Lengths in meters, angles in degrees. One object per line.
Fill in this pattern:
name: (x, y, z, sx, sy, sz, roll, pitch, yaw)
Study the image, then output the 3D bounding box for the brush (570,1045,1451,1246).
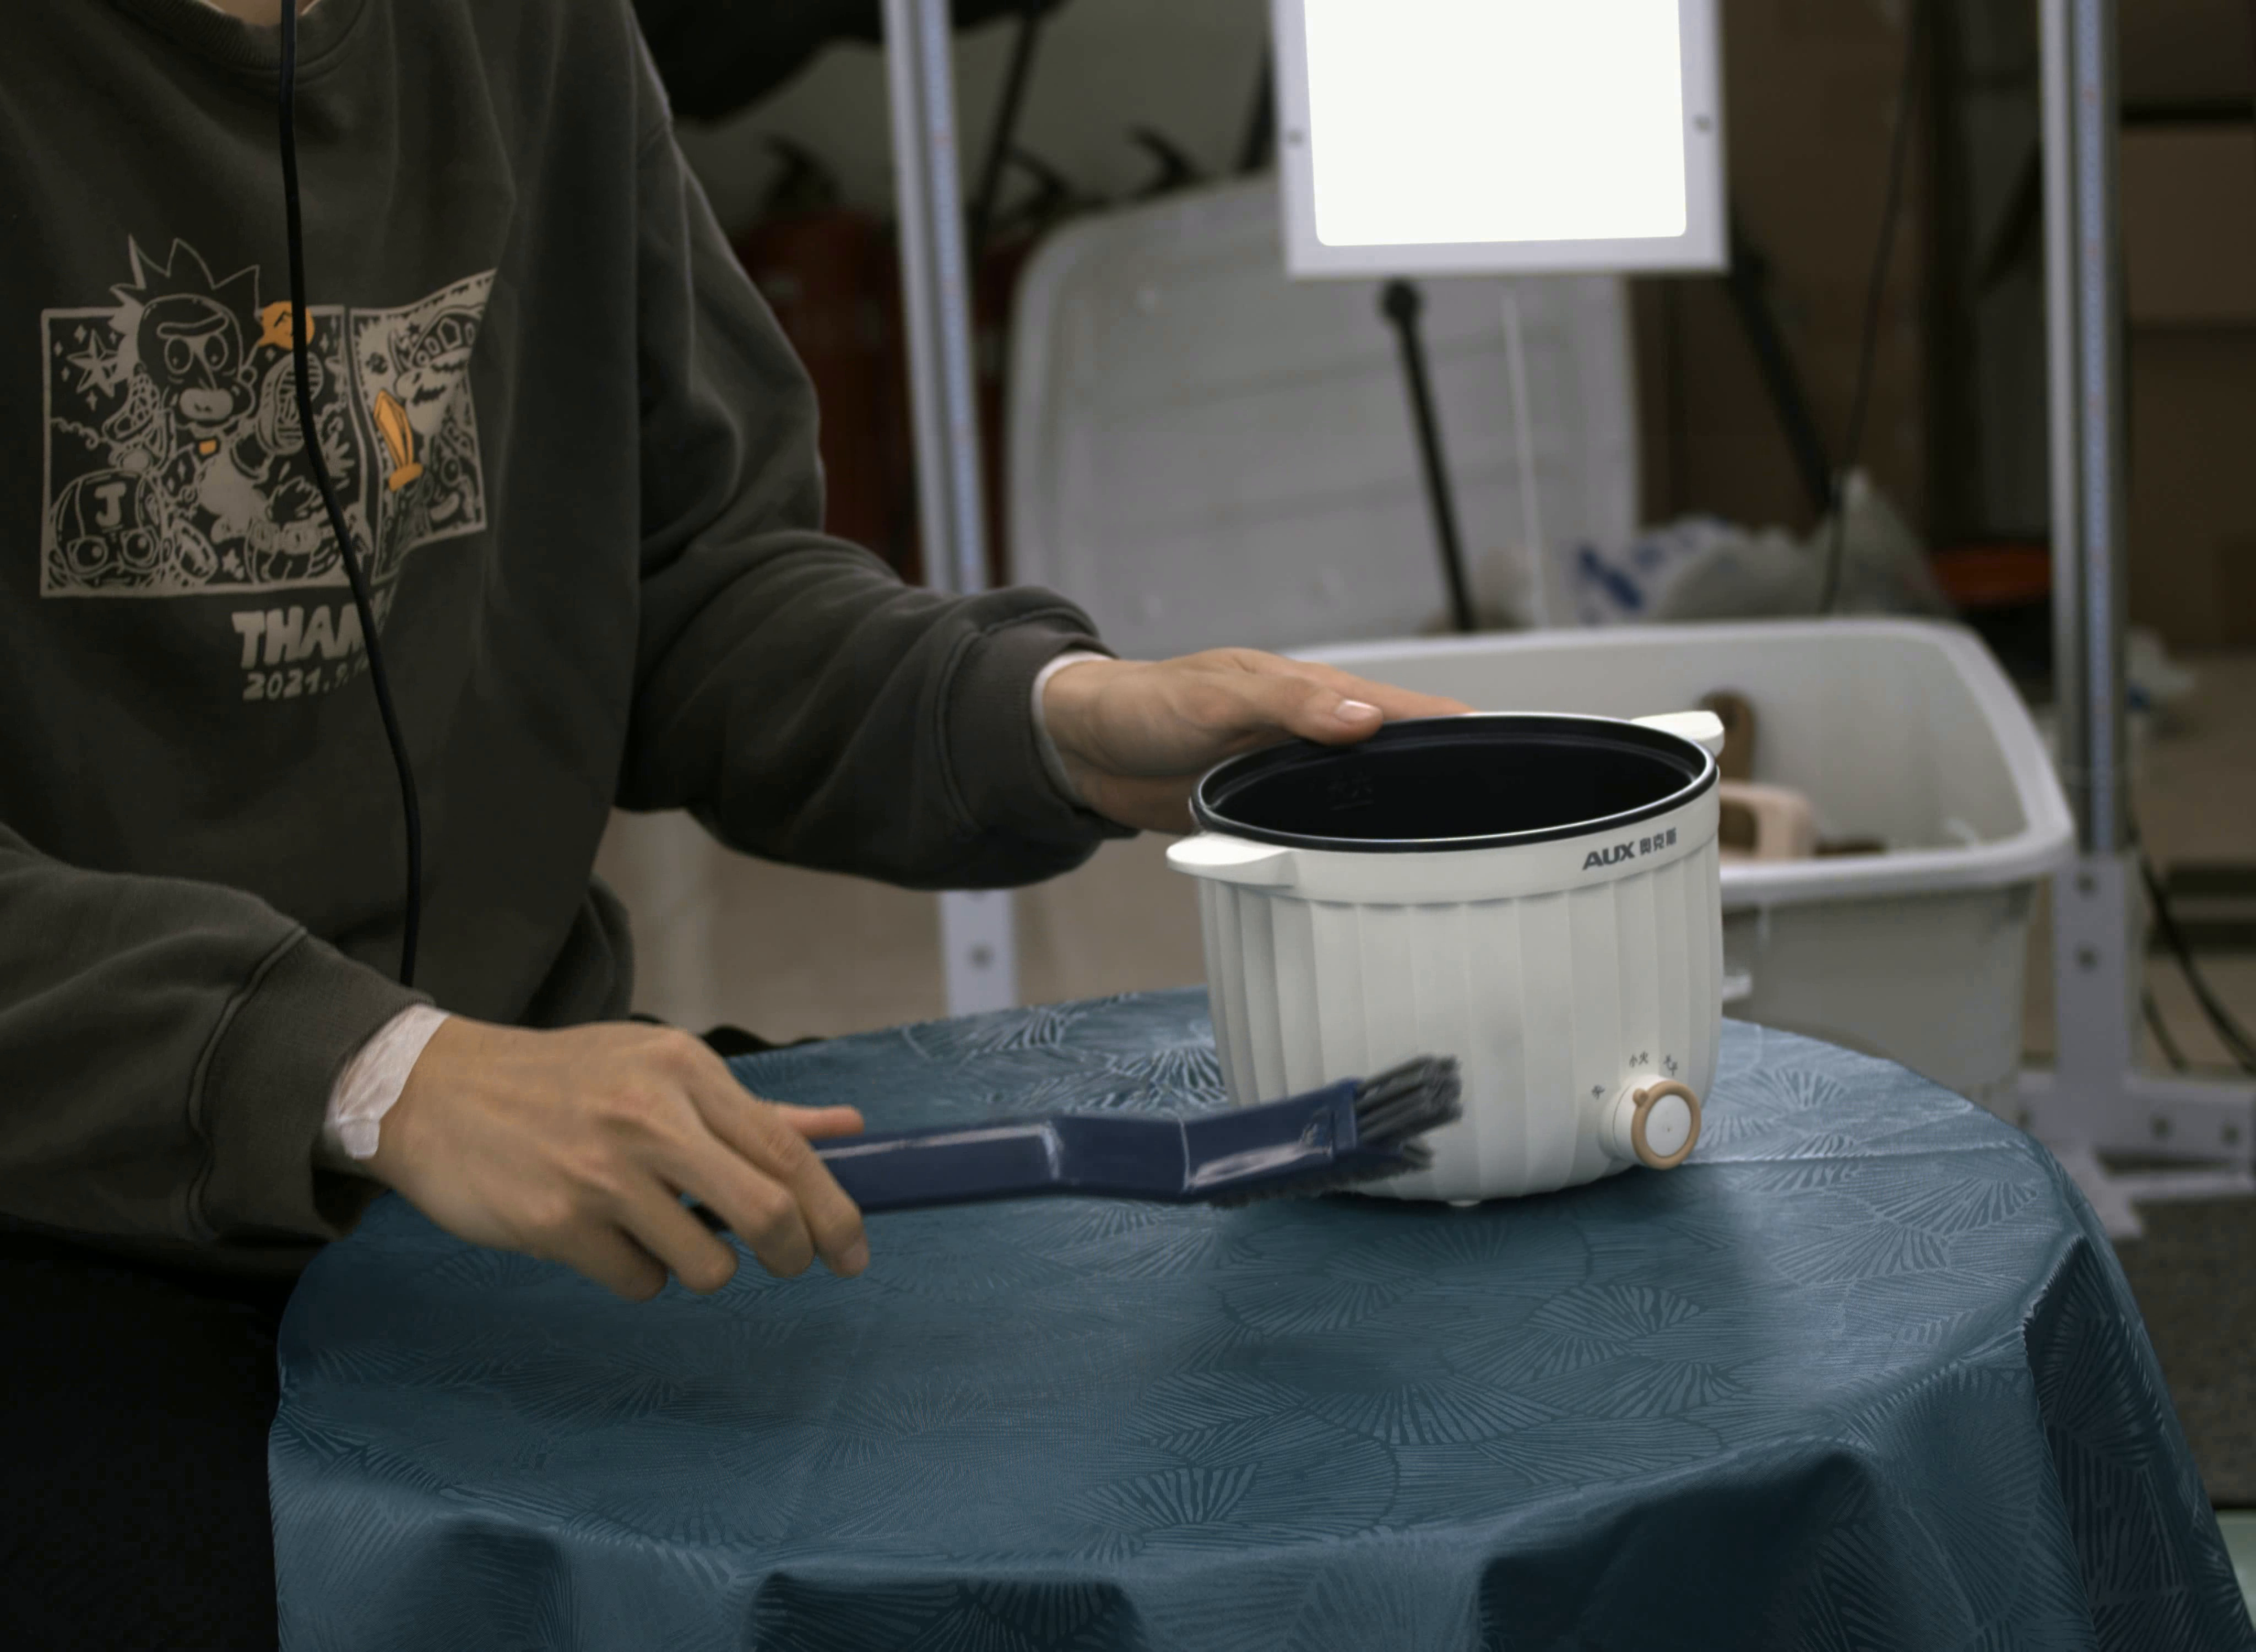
brush: (-0.039, 0.097, 1.702, 0.272, 0.033, 0.096, -3, -23, 1)

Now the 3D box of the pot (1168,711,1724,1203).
pot: (0.121, 0.046, 1.887, 0.234, 0.143, 0.194, -16, 14, -34)
